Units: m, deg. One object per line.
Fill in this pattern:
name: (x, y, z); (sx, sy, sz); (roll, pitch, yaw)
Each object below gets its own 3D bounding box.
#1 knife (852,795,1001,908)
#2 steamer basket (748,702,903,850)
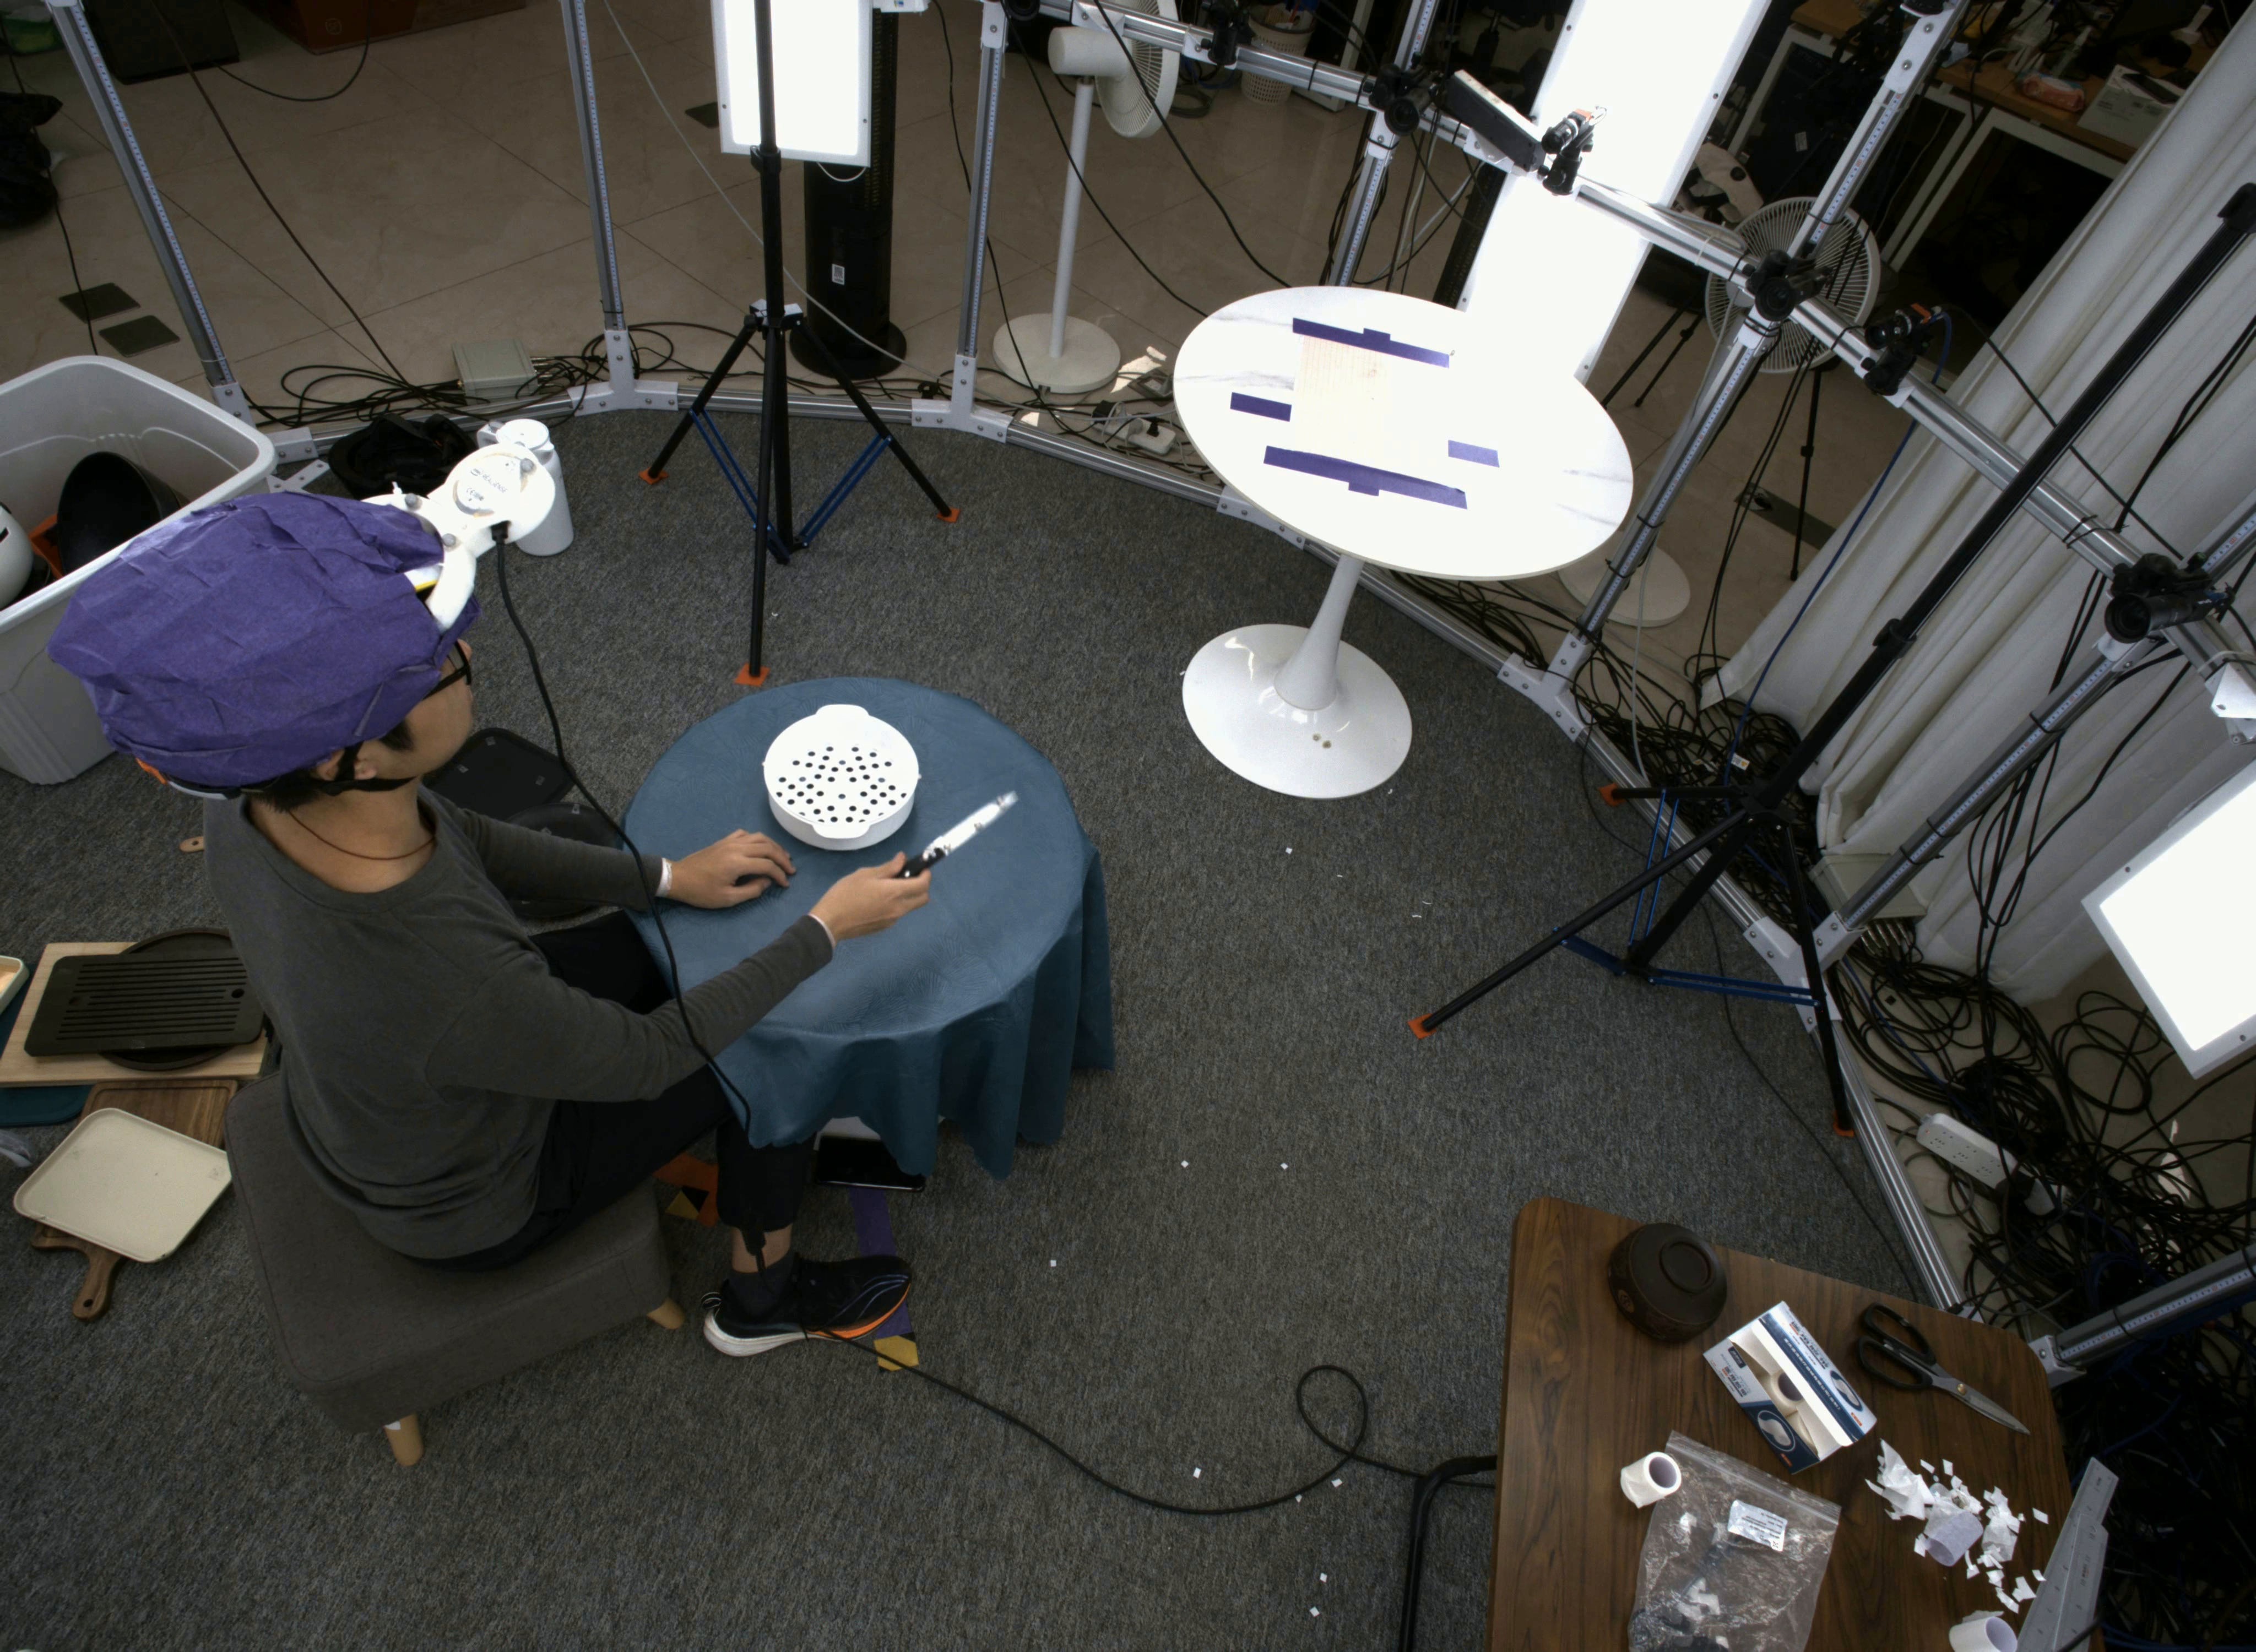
knife: (-0.242, 0.028, 1.604); (0.024, 0.016, 0.238); (44, 61, 13)
steamer basket: (-0.405, -0.061, 1.742); (0.202, 0.070, 0.226); (0, 55, -13)
